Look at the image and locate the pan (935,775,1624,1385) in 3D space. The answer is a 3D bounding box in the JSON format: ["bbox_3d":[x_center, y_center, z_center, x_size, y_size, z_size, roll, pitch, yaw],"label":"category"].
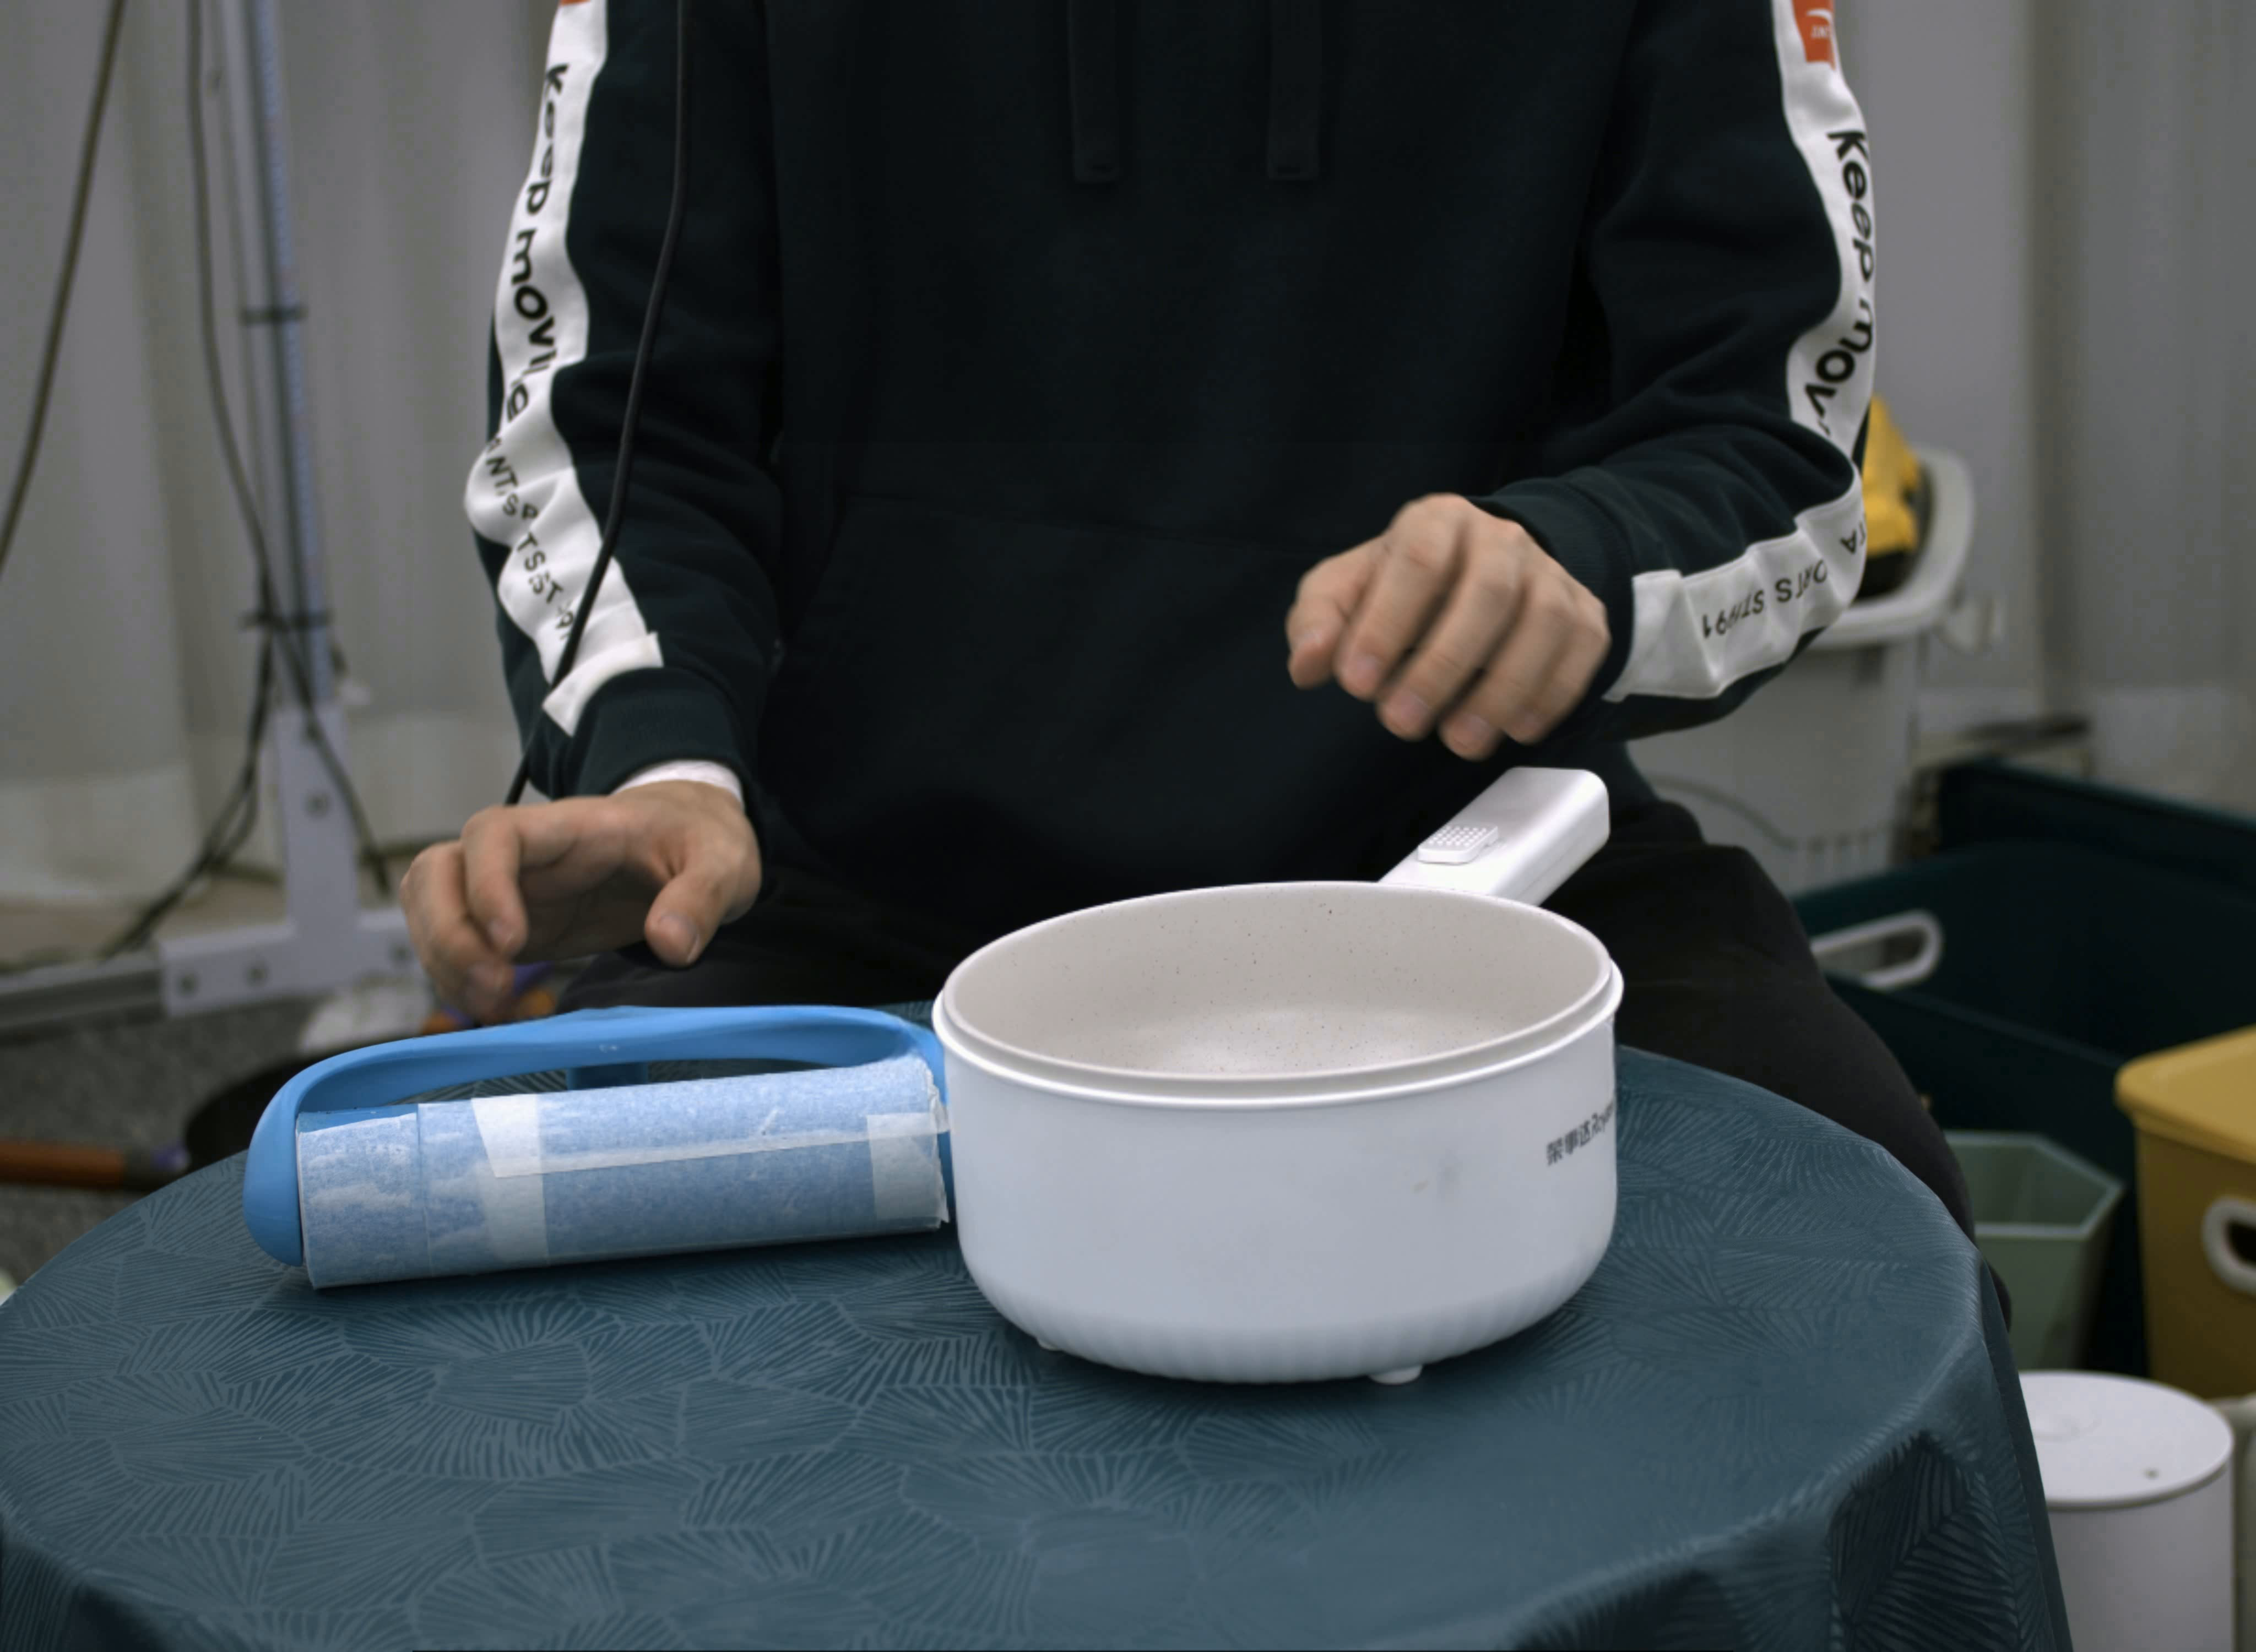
[{"bbox_3d":[0.076,0.073,1.666,0.201,0.102,0.355,3,15,23],"label":"pan"}]

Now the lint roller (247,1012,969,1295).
[{"bbox_3d":[-0.165,0.091,1.728,0.228,0.067,0.182,-7,16,-9],"label":"lint roller"}]
